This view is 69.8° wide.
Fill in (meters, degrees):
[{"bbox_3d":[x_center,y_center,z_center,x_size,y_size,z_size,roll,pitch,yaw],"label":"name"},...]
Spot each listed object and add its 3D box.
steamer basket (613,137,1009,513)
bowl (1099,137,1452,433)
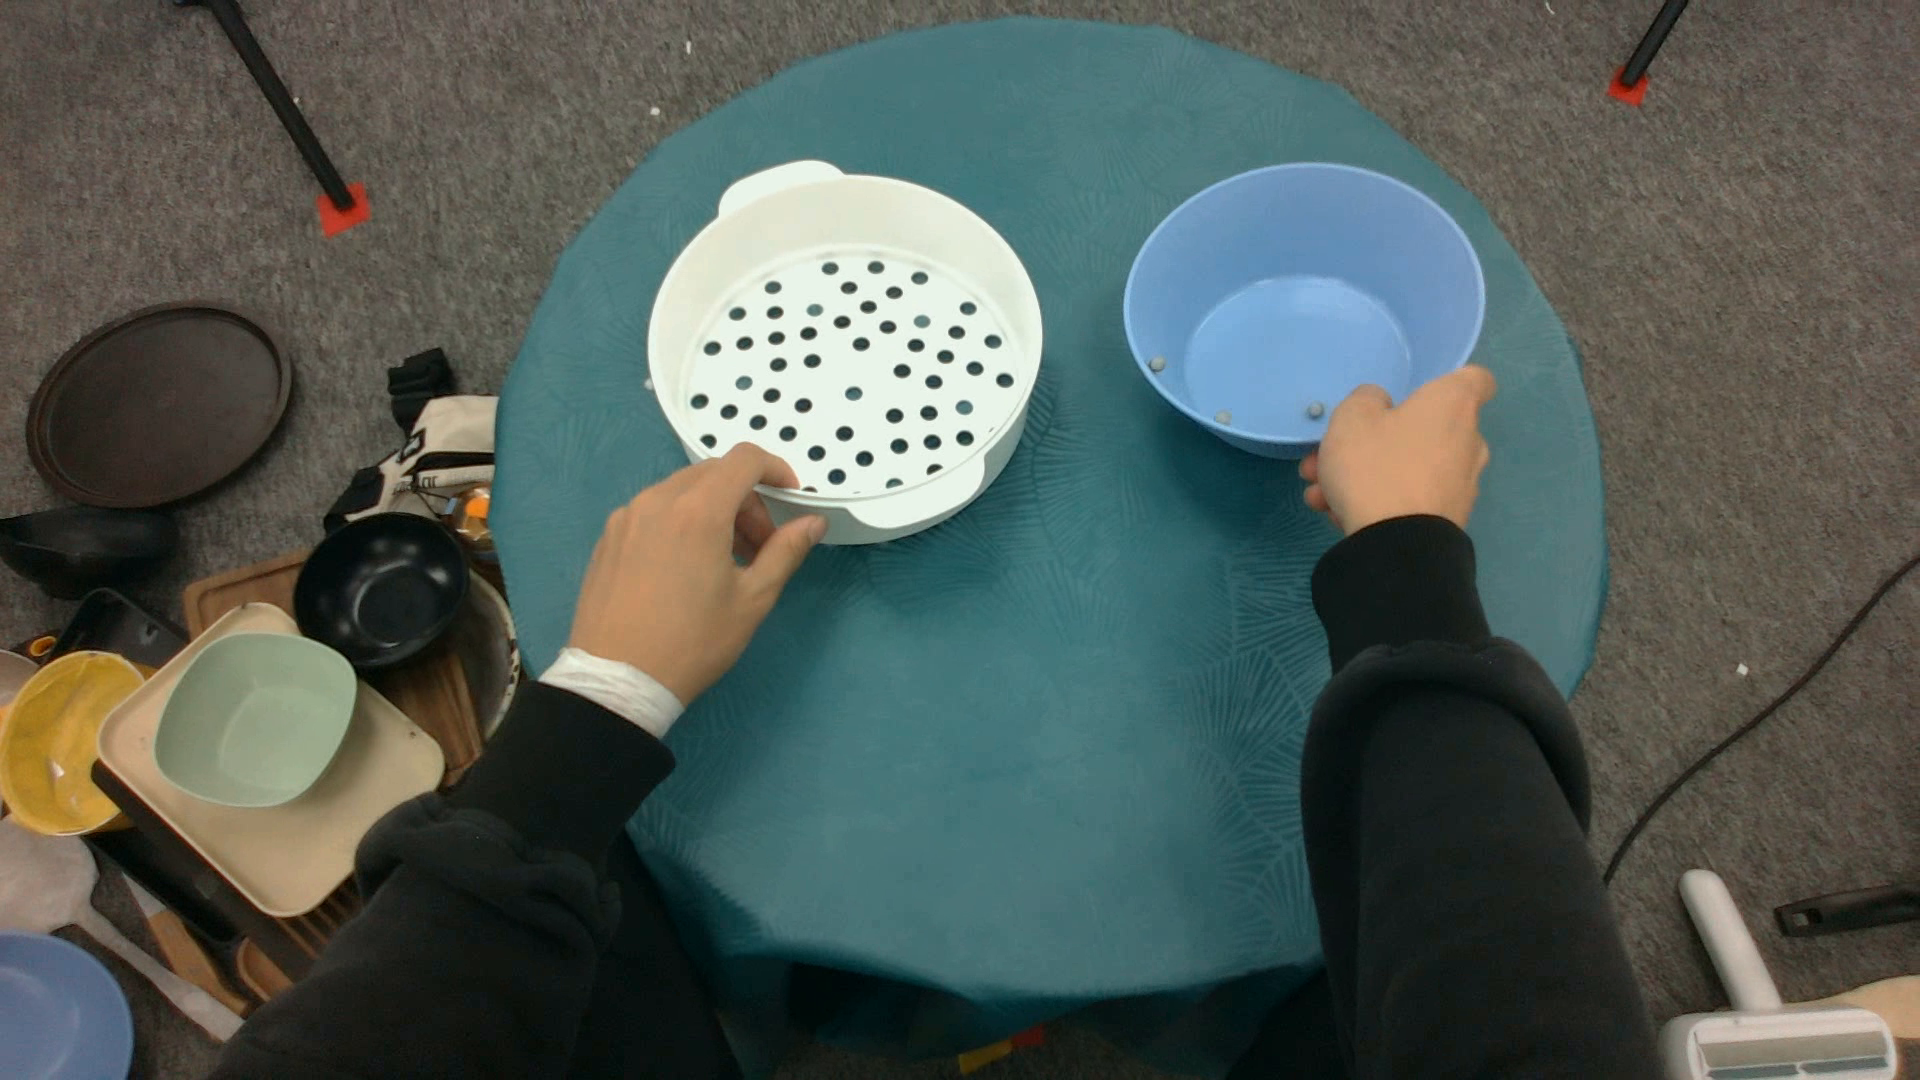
[{"bbox_3d":[-0.076,-0.110,0.728,0.202,0.069,0.231,-21,65,-12],"label":"steamer basket"},{"bbox_3d":[0.164,-0.123,0.726,0.176,0.070,0.177,-5,62,10],"label":"bowl"}]
